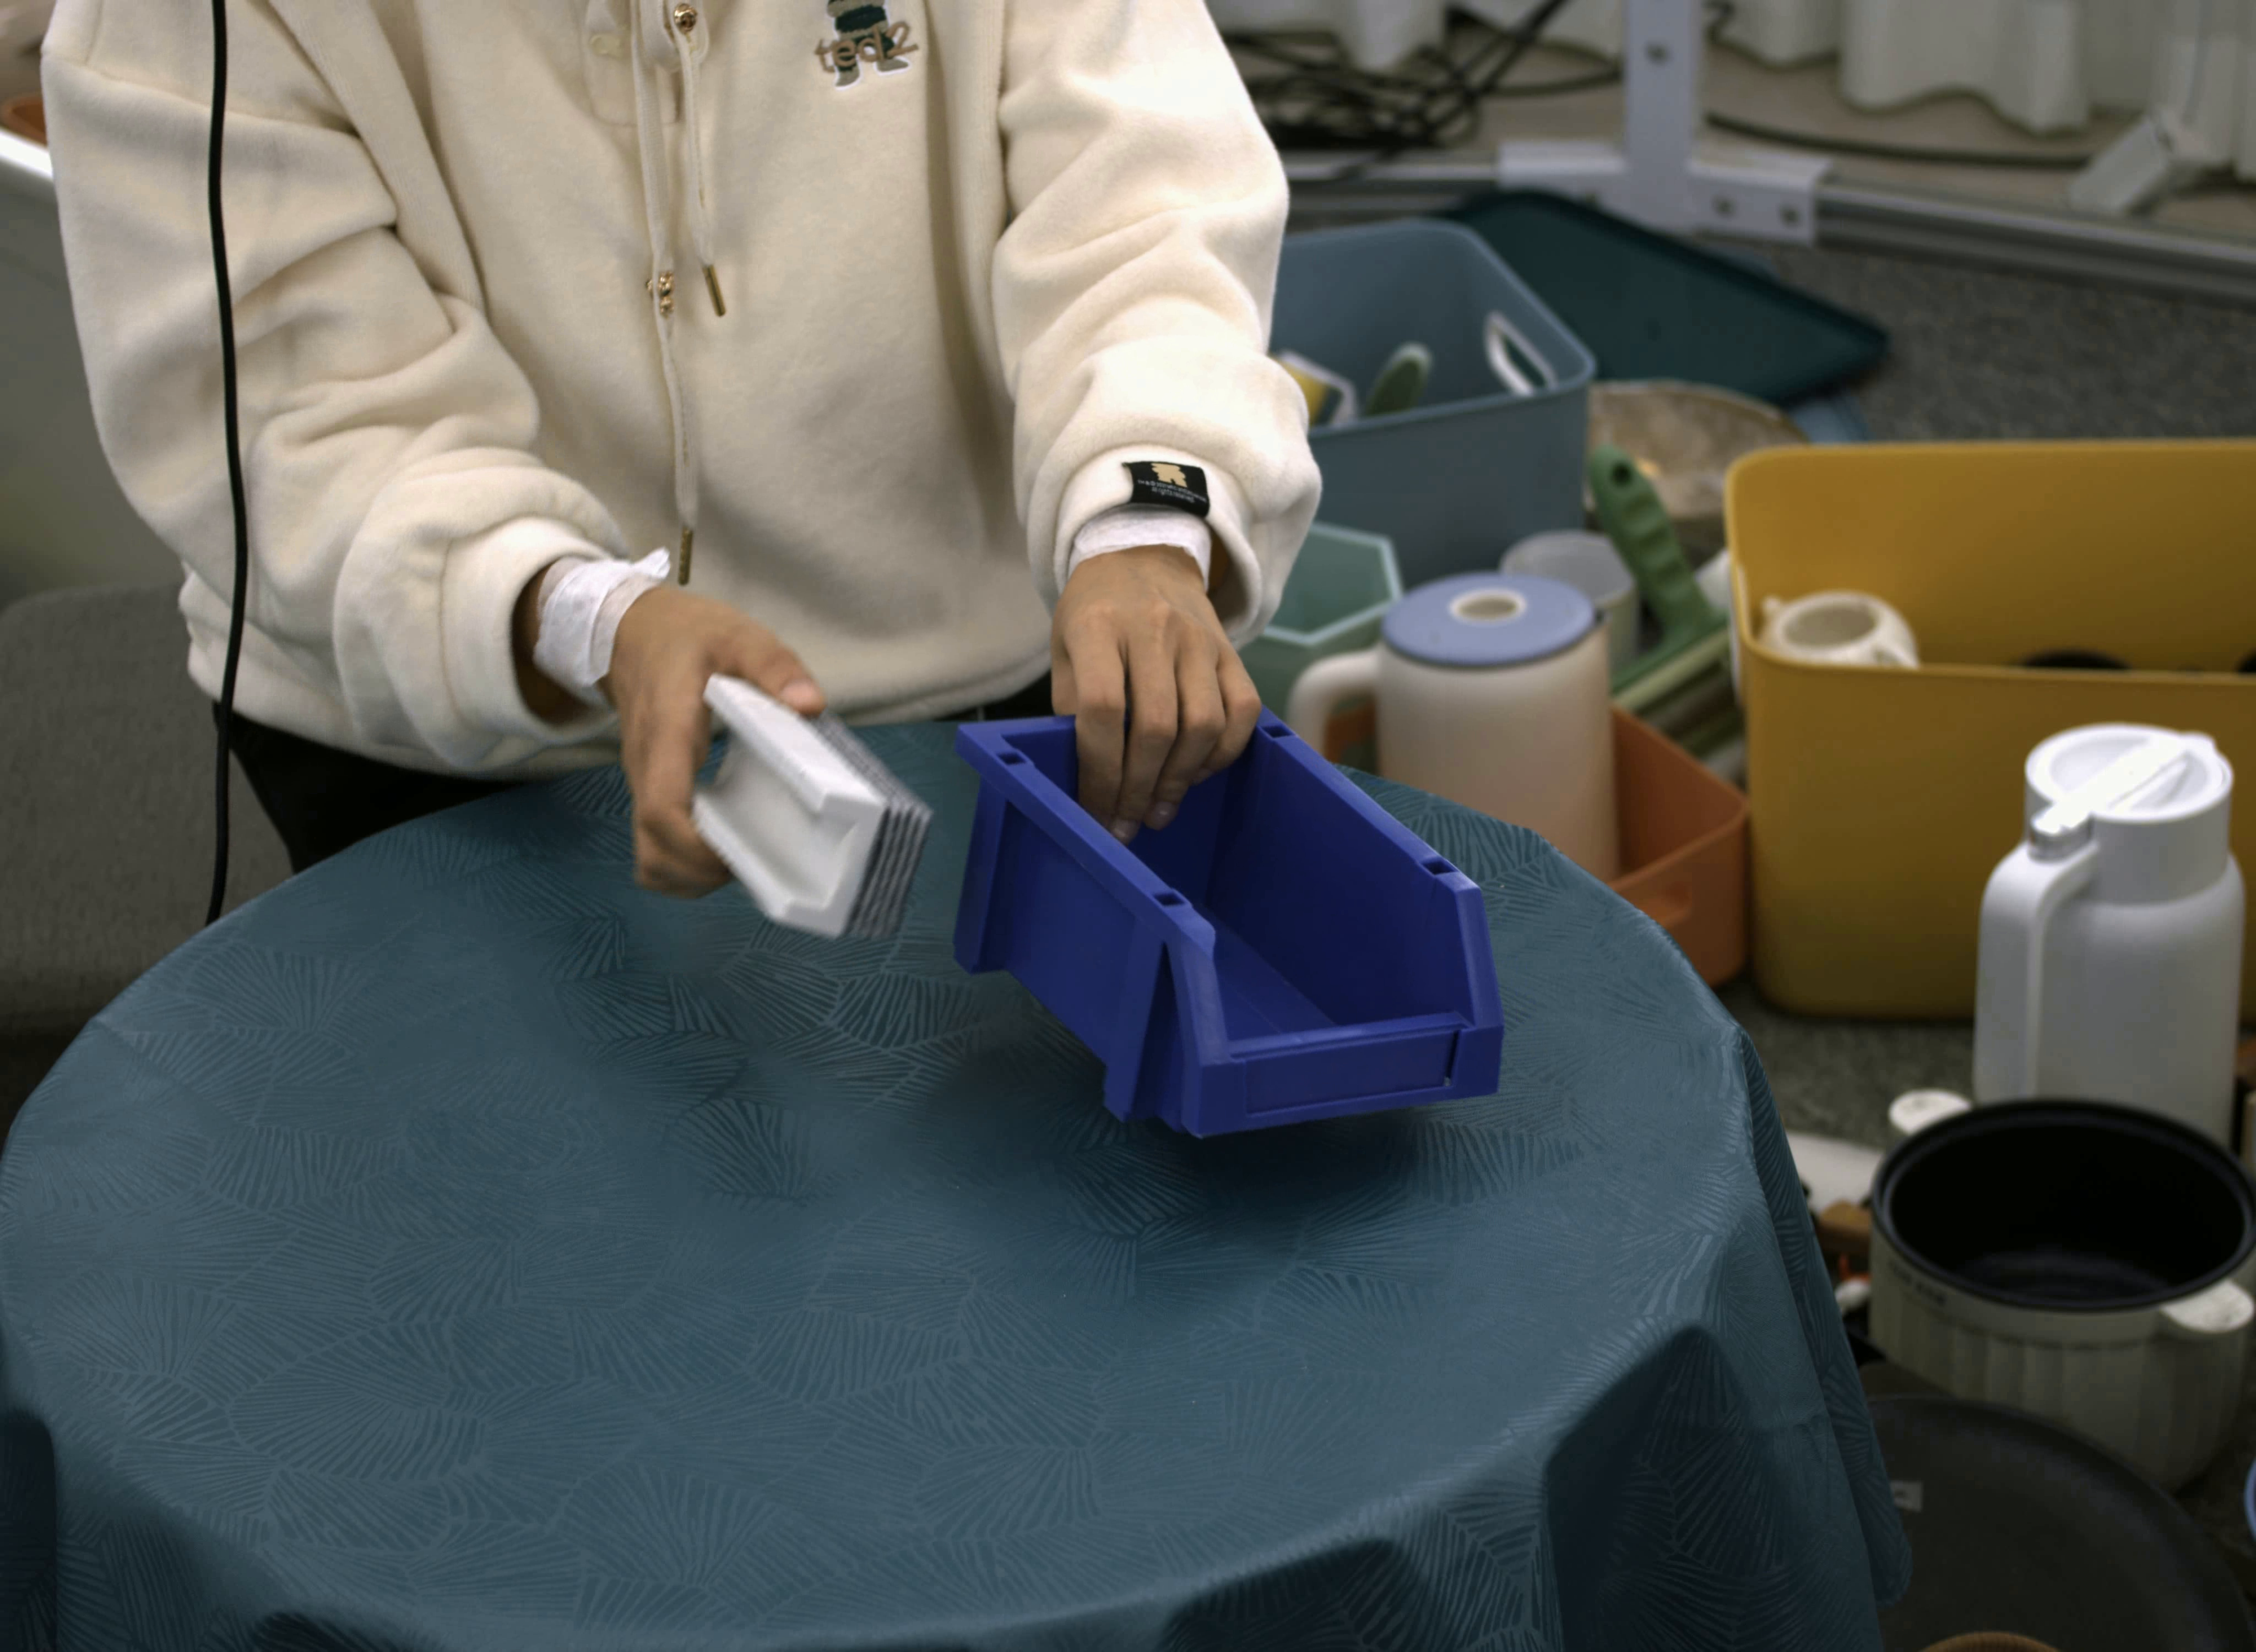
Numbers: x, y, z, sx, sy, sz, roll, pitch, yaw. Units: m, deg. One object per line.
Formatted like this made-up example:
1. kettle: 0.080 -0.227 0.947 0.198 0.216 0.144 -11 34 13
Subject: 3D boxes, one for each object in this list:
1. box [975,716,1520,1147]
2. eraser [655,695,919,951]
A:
1. box: 0.039 0.040 1.886 0.125 0.081 0.180 -5 27 -30
2. eraser: -0.117 -0.001 1.921 0.046 0.049 0.134 15 9 -26
